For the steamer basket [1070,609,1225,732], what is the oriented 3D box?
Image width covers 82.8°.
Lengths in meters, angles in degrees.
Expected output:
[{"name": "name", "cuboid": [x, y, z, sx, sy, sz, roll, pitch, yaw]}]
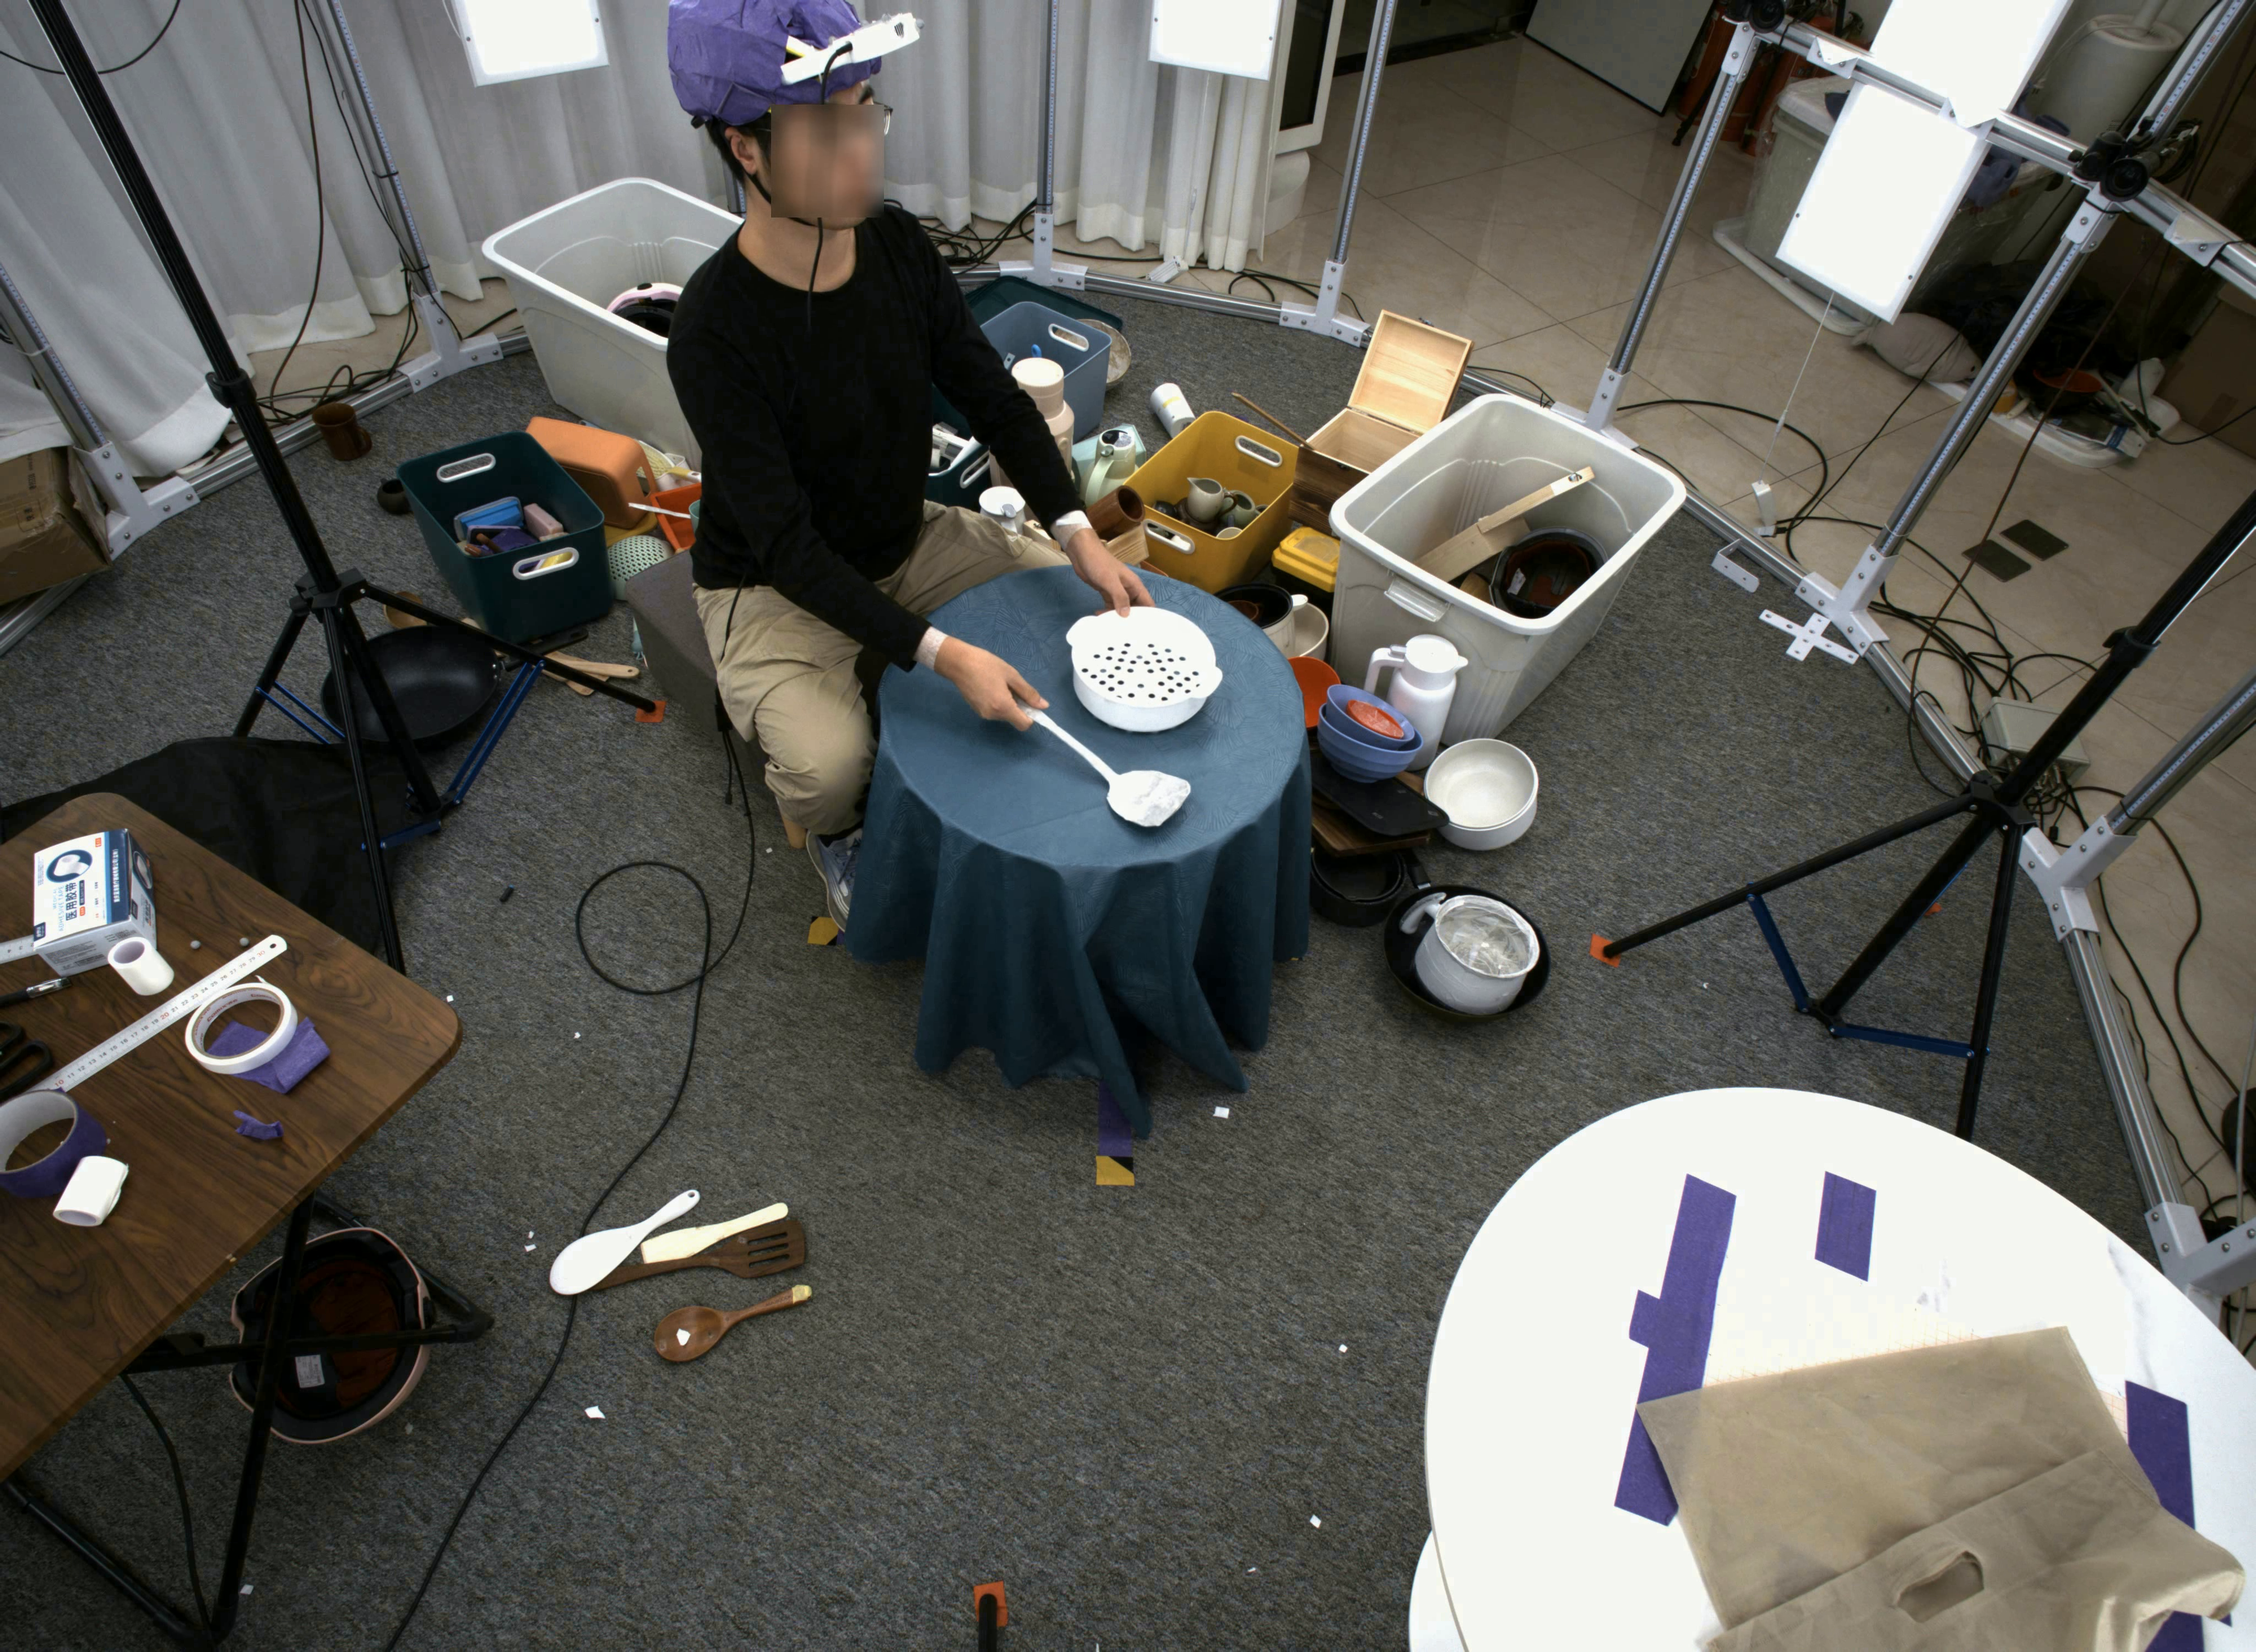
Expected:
[{"name": "steamer basket", "cuboid": [0.025, -0.220, 1.817, 0.232, 0.067, 0.205, 25, 51, 18]}]

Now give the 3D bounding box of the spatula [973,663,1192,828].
[{"name": "spatula", "cuboid": [-0.077, -0.120, 1.720, 0.368, 0.044, 0.100, 38, 62, 14]}]
